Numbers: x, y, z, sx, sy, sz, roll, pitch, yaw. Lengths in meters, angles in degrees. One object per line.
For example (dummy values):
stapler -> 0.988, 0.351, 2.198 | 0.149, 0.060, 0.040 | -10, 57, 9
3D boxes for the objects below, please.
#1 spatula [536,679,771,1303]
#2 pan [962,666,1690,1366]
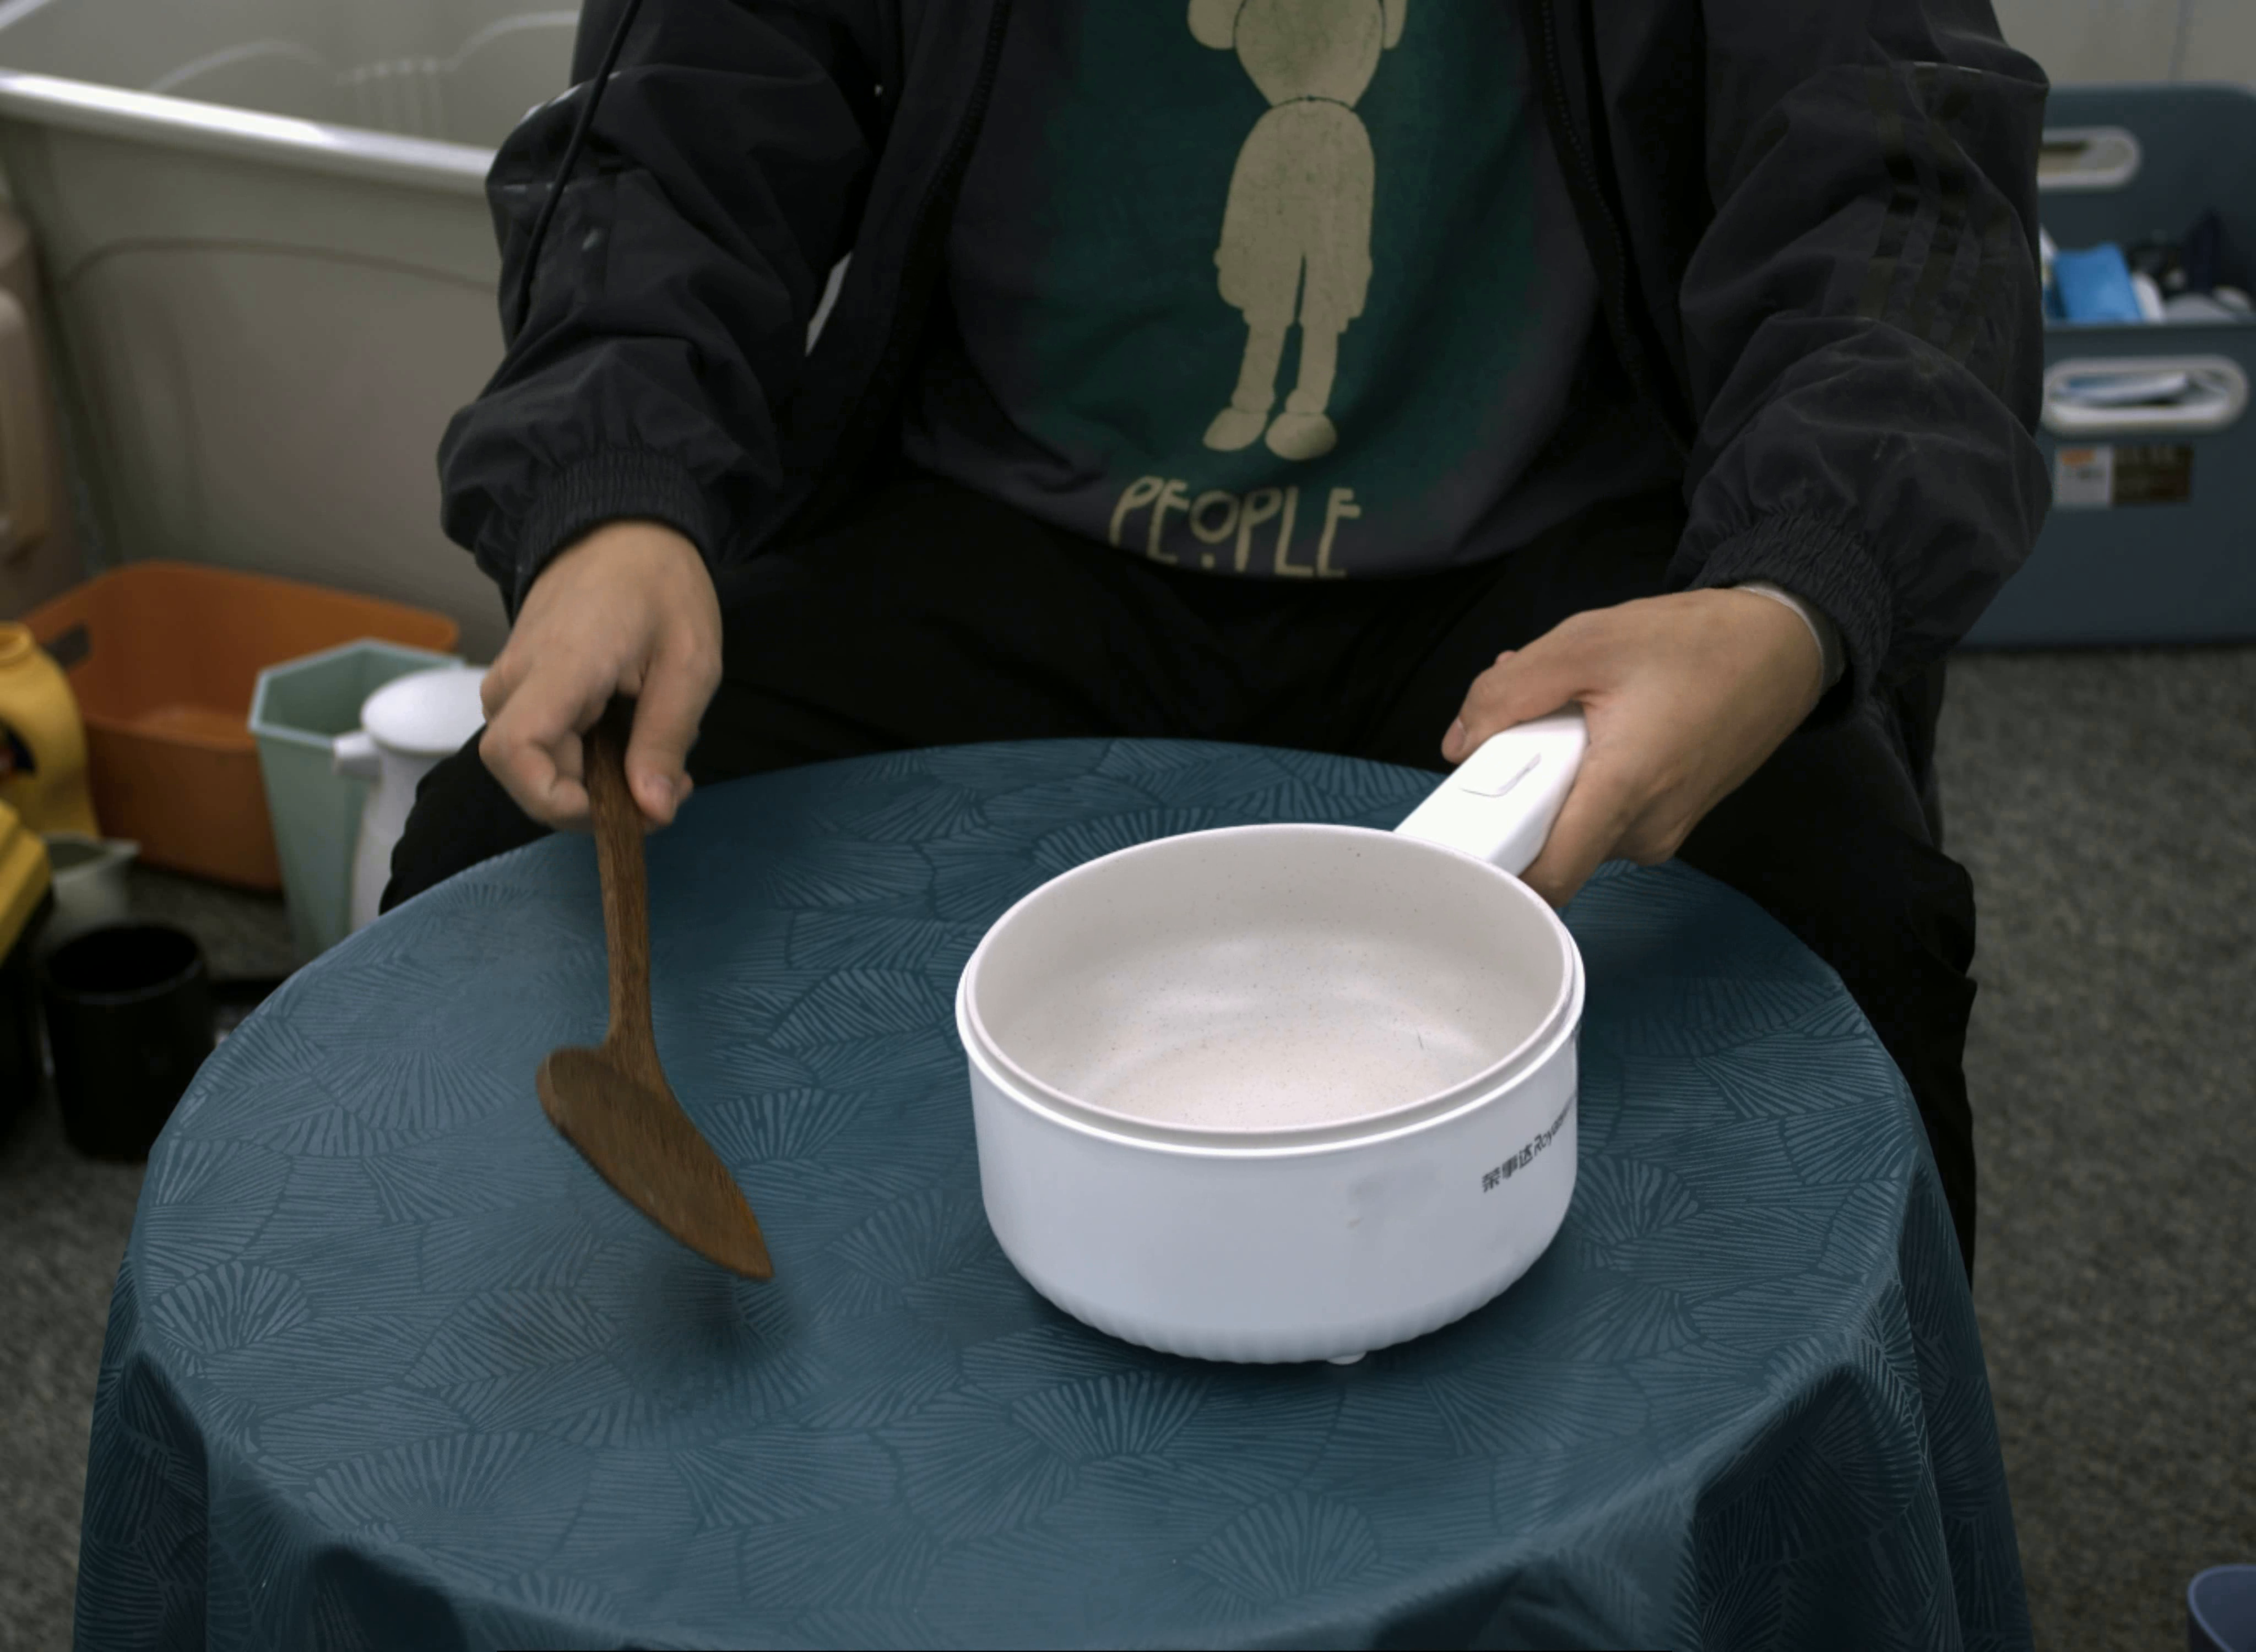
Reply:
spatula -> -0.170, 0.041, 1.916 | 0.015, 0.095, 0.391 | -44, 25, 15
pan -> 0.089, 0.059, 1.865 | 0.200, 0.101, 0.360 | 12, 30, 29
